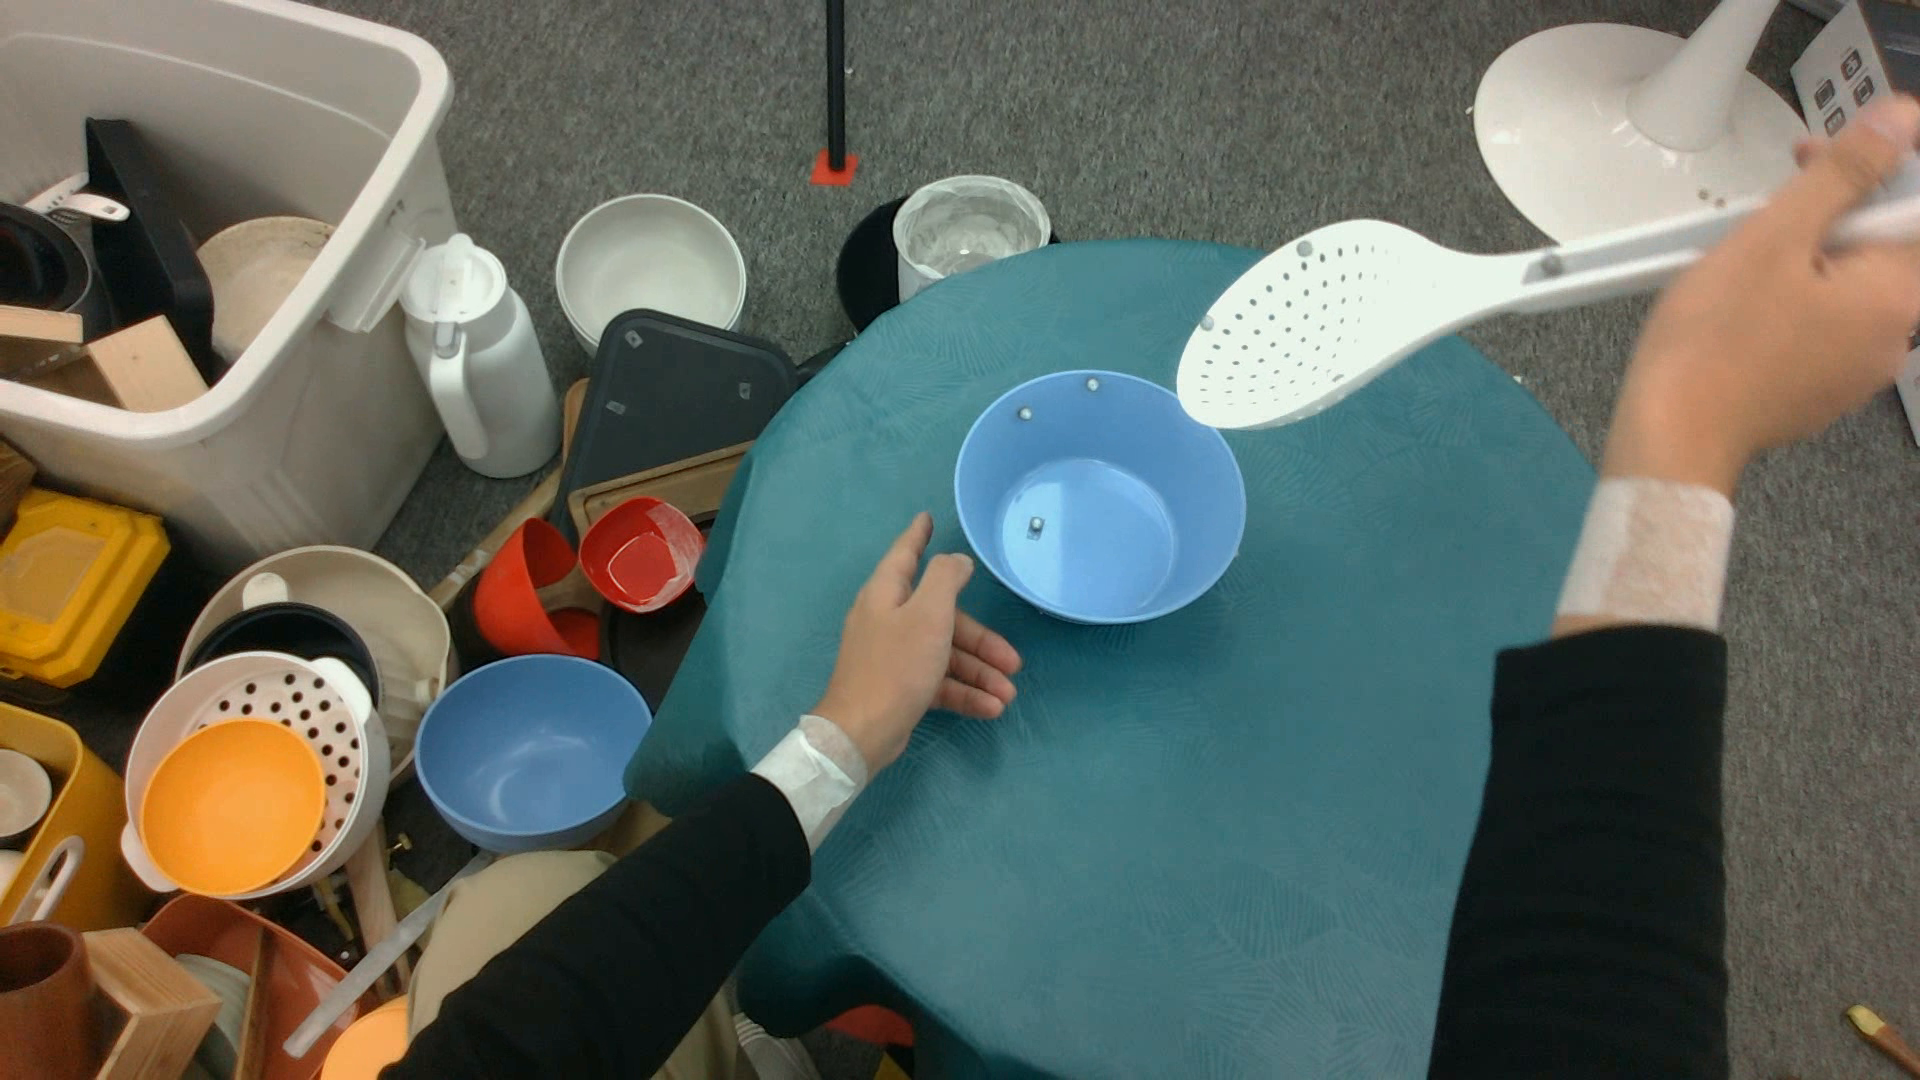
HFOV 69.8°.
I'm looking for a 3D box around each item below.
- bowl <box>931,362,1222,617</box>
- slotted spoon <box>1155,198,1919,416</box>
[{"bbox_3d":[0.068,-0.020,0.848,0.176,0.070,0.177,2,62,-4],"label":"bowl"},{"bbox_3d":[0.236,-0.113,0.631,0.045,0.348,0.136,44,62,-28],"label":"slotted spoon"}]
